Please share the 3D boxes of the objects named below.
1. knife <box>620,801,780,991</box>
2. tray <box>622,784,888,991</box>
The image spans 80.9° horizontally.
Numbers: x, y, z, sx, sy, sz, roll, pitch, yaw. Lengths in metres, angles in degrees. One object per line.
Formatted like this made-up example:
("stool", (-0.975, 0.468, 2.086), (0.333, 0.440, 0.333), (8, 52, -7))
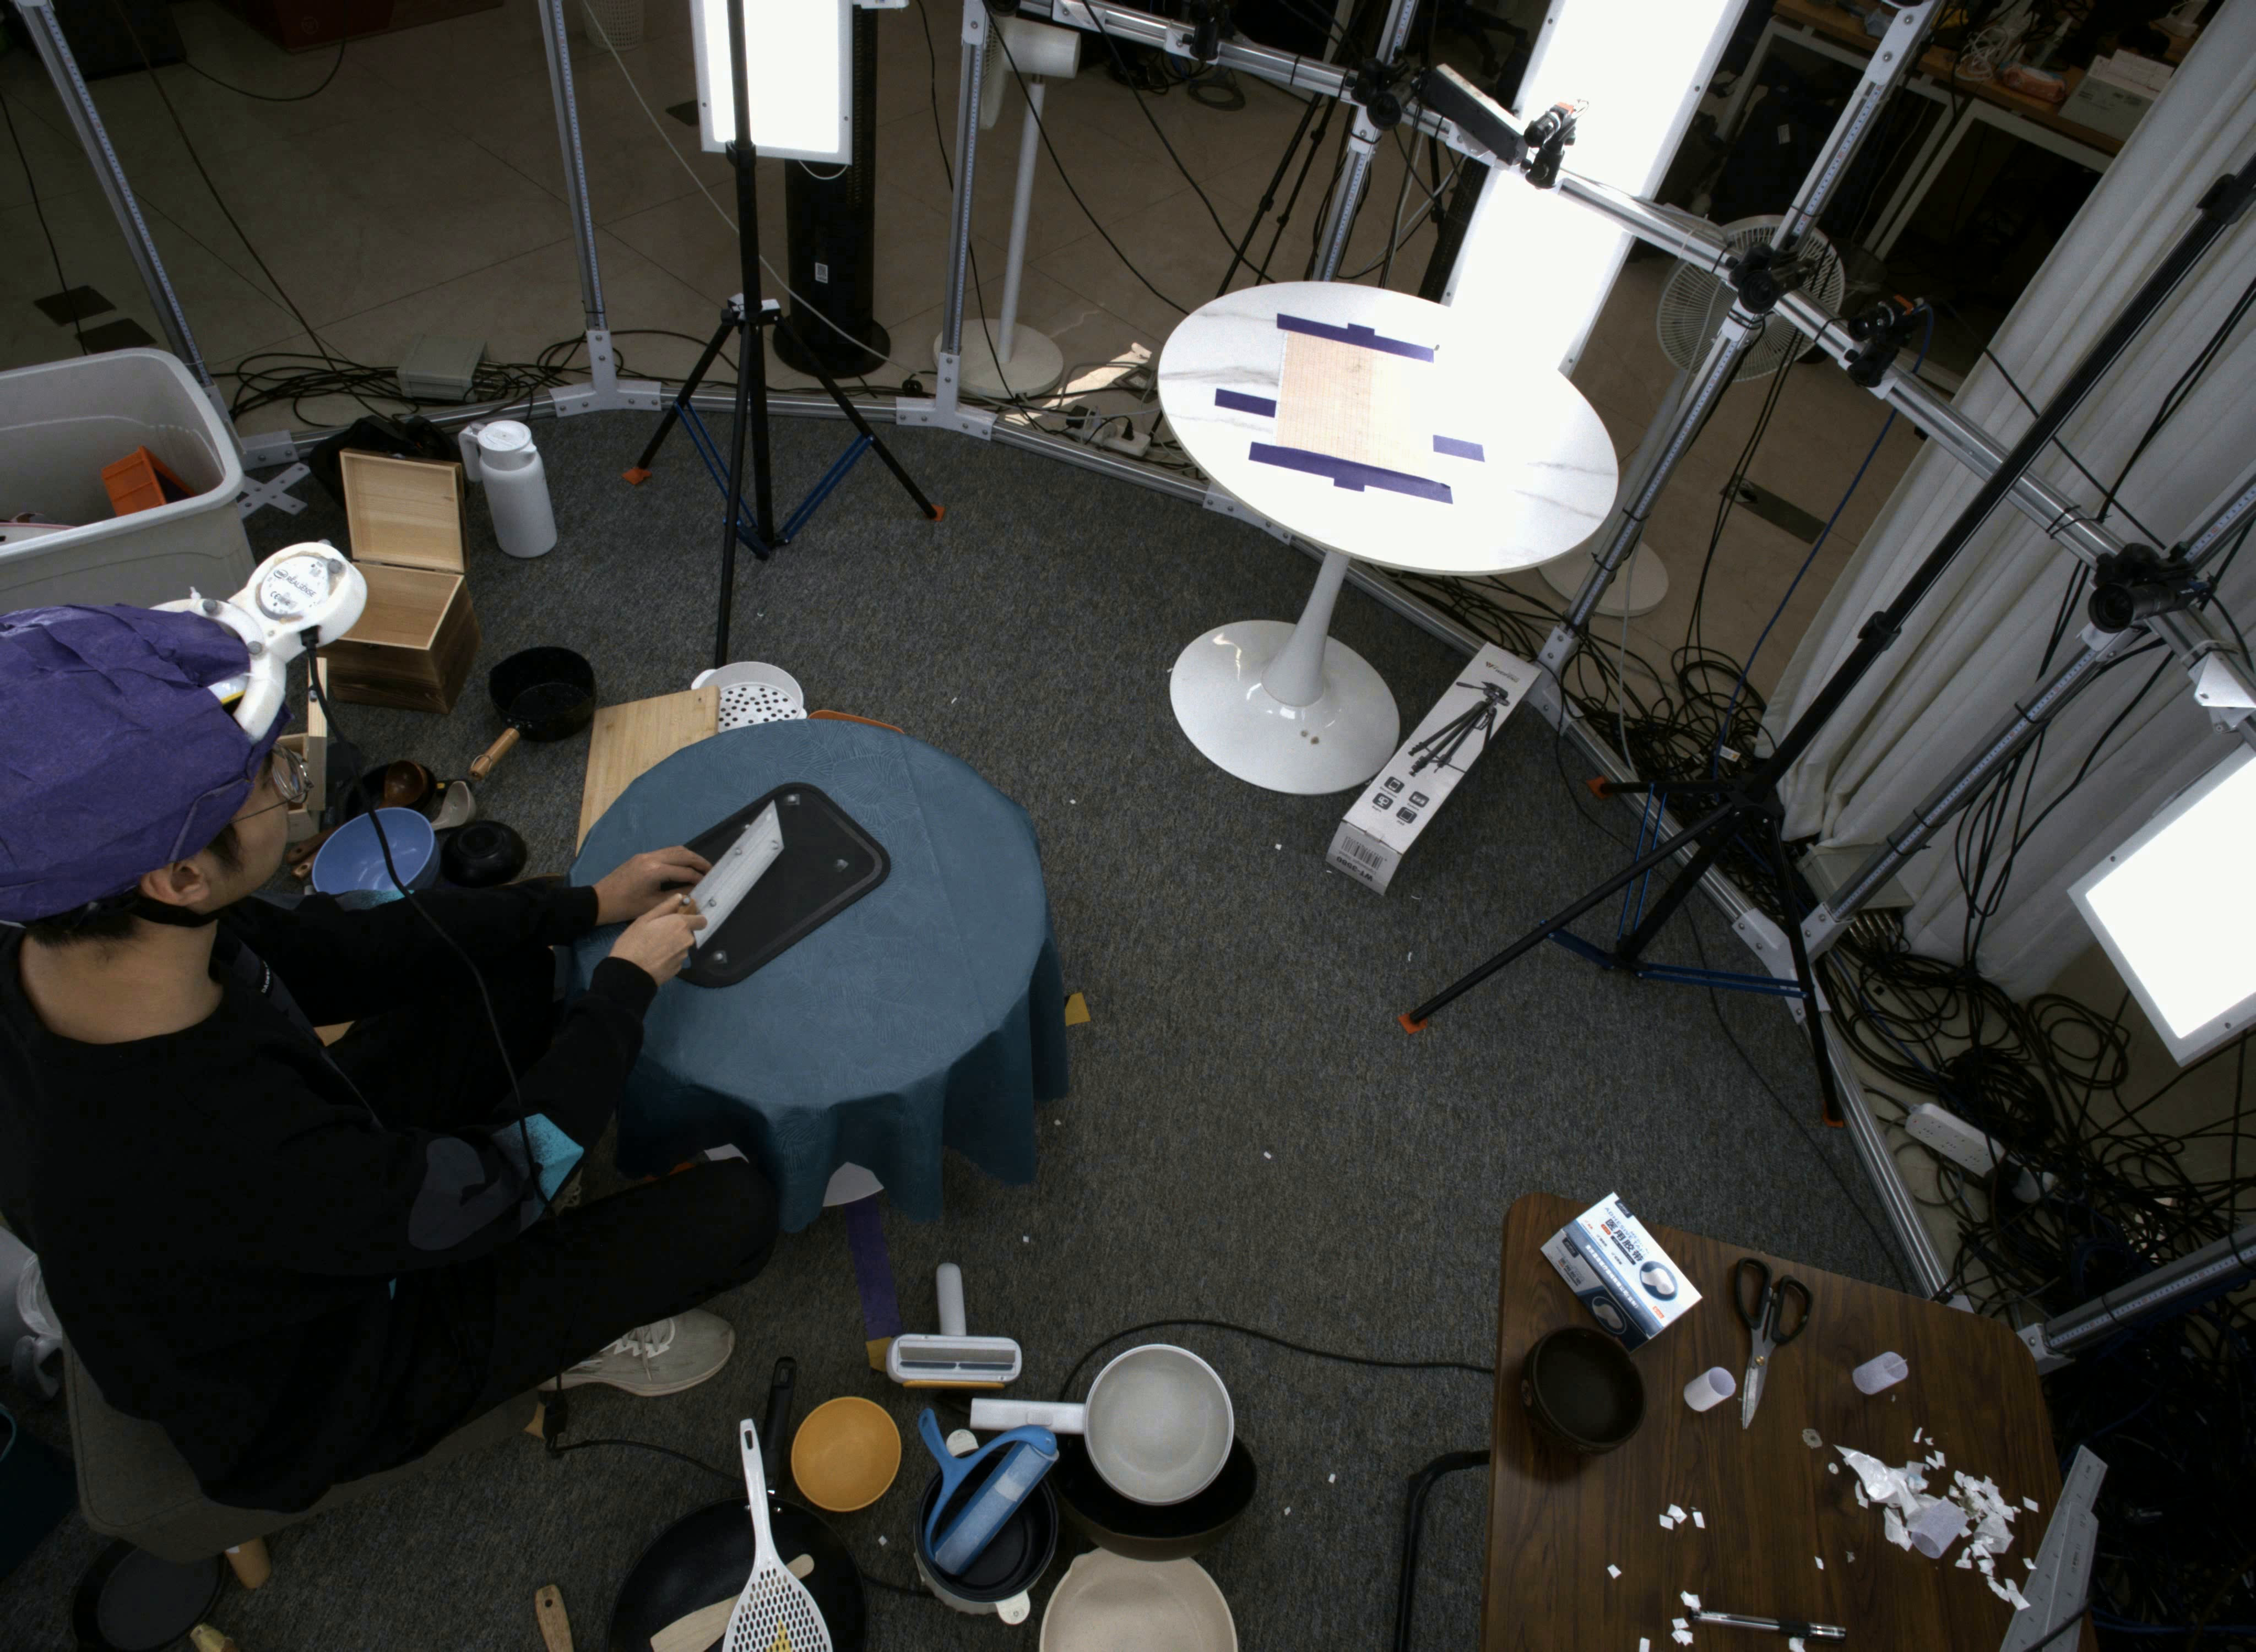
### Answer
("knife", (-0.504, 0.093, 1.548), (0.020, 0.096, 0.303), (17, 47, 14))
("tray", (-0.476, 0.072, 1.641), (0.206, 0.010, 0.326), (41, 54, 16))
